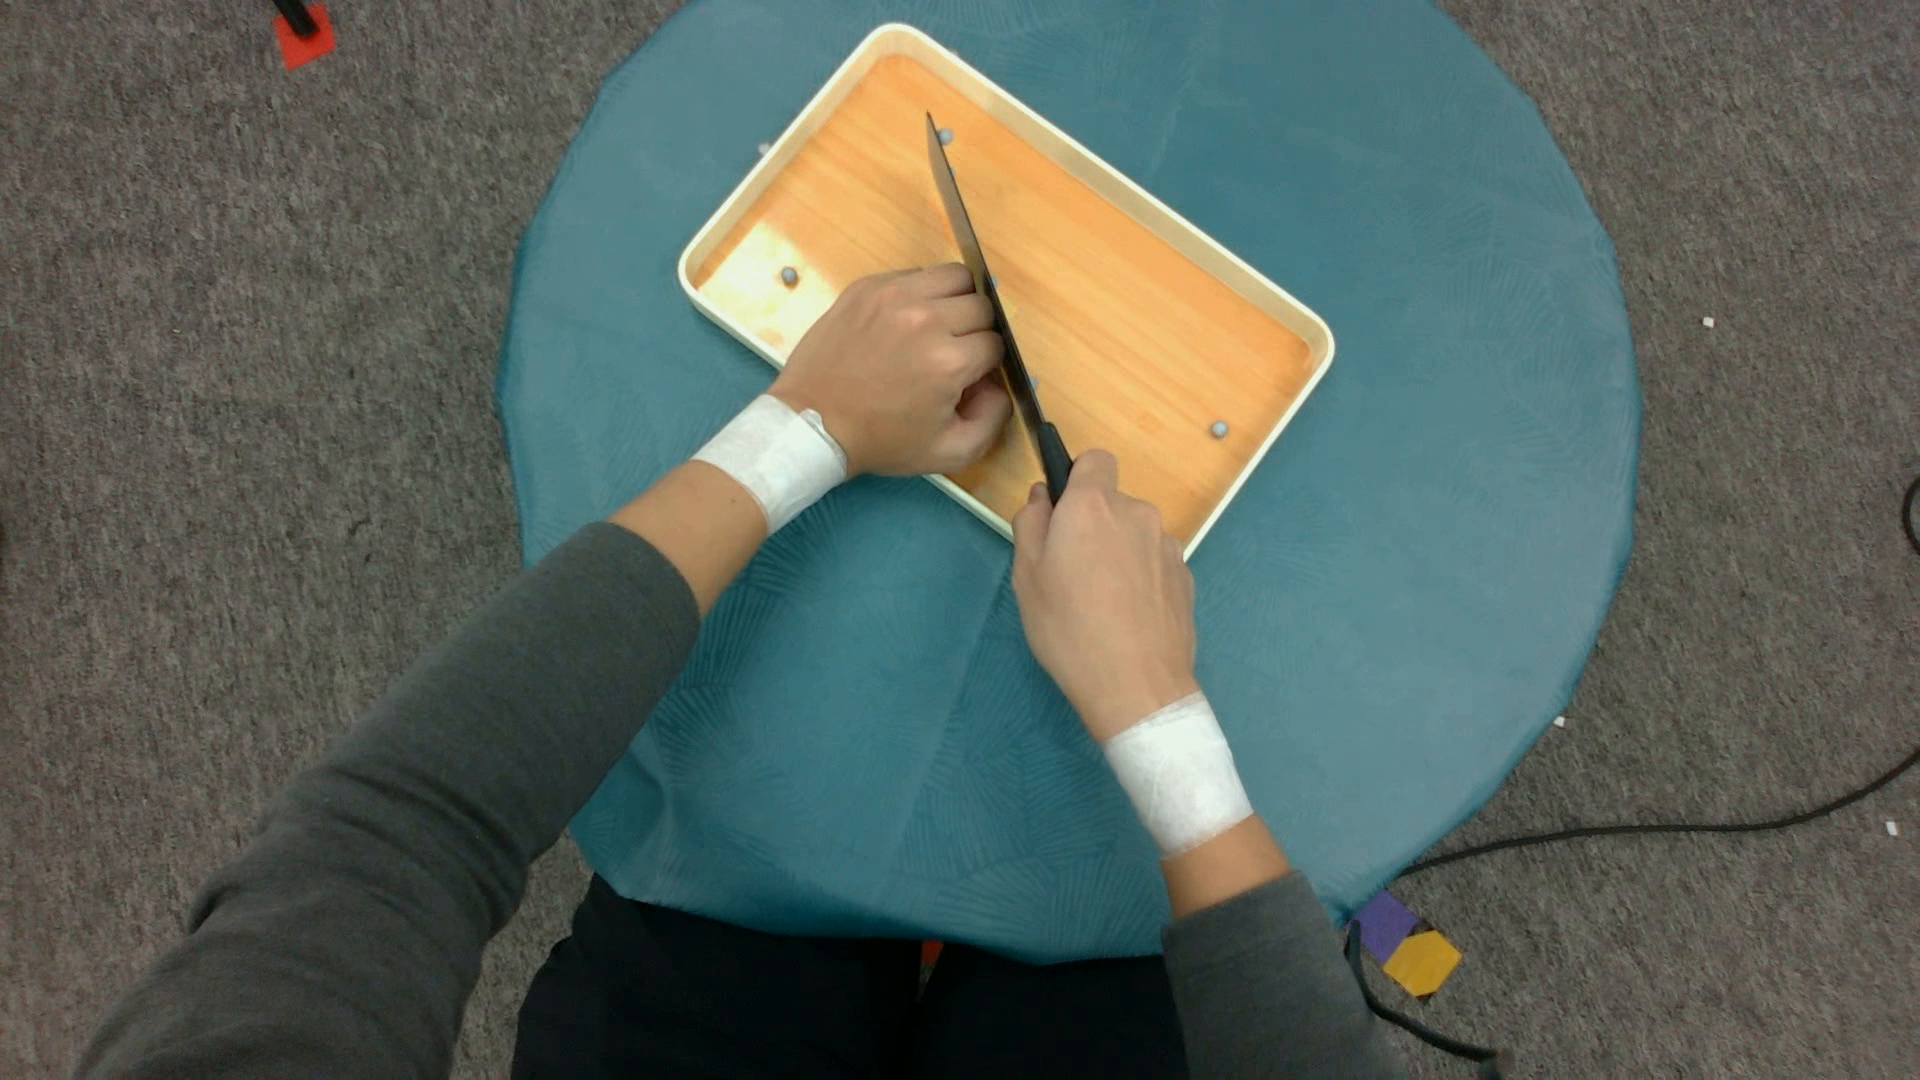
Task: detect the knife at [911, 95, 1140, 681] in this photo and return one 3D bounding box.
[{"bbox_3d":[0.026,-0.076,0.673,0.021,0.081,0.303,-19,76,-3],"label":"knife"}]

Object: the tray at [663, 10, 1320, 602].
[{"bbox_3d":[0.017,-0.124,0.716,0.300,0.027,0.192,37,79,4],"label":"tray"}]
